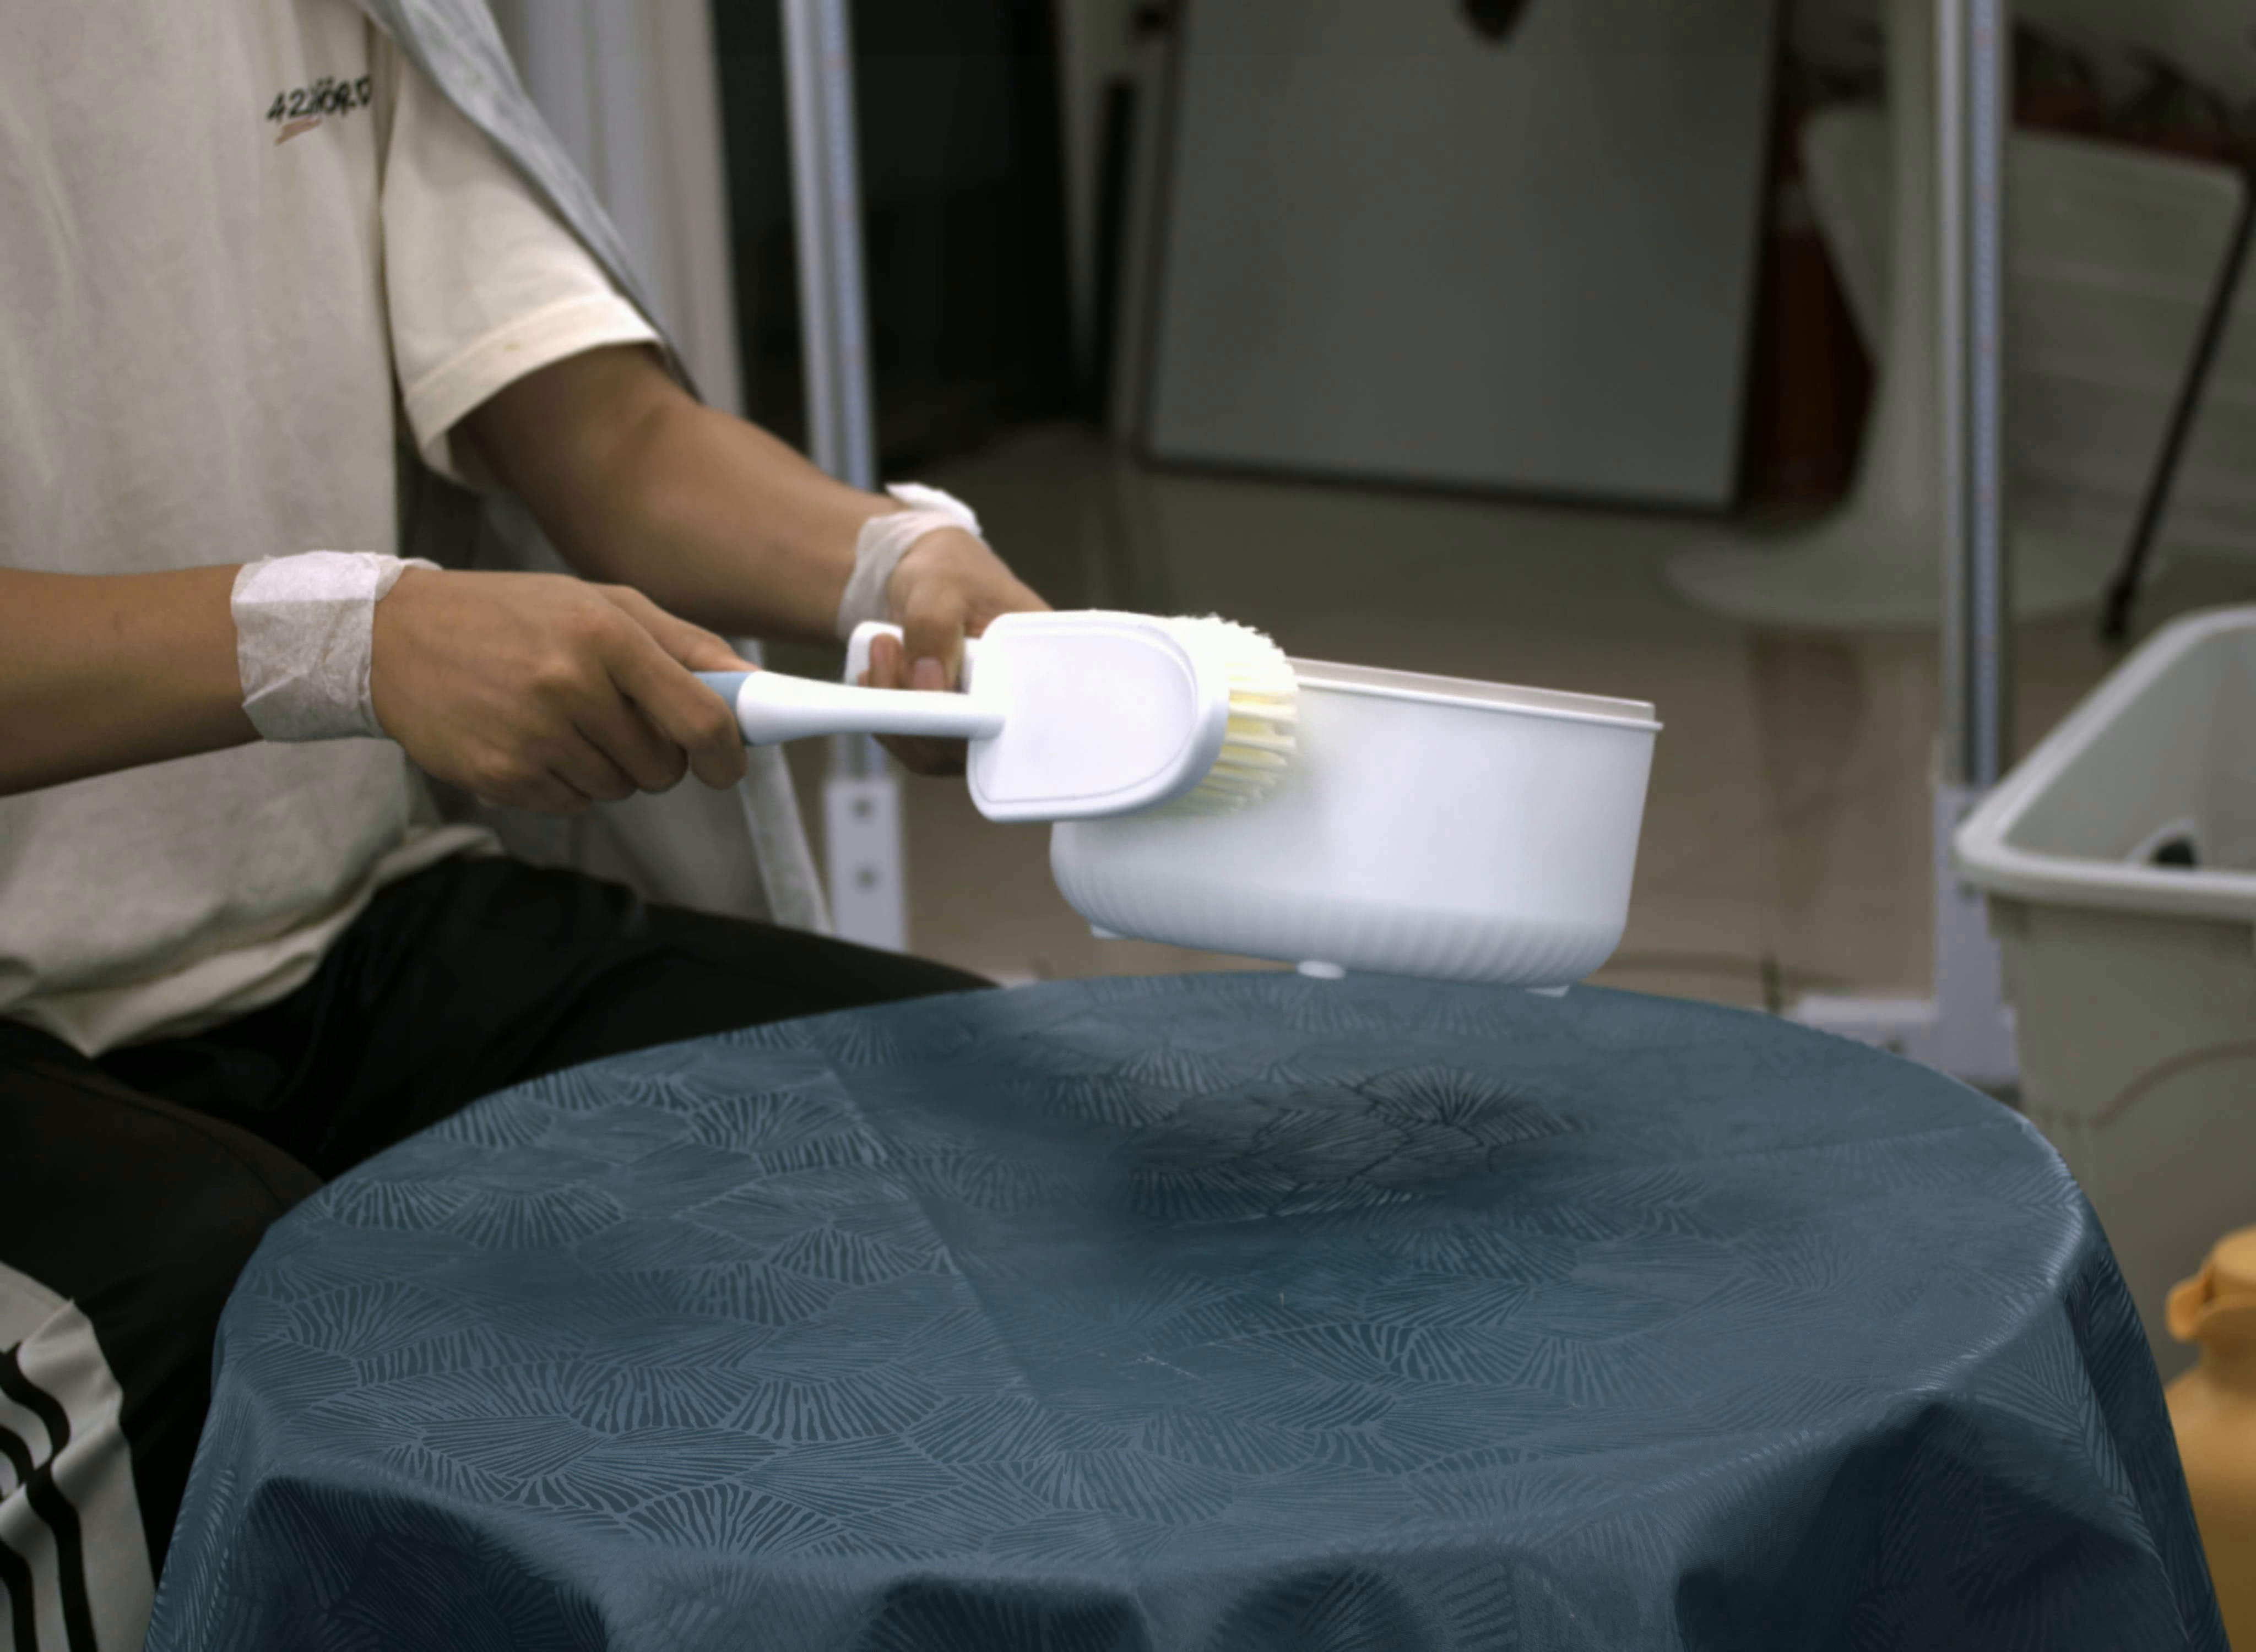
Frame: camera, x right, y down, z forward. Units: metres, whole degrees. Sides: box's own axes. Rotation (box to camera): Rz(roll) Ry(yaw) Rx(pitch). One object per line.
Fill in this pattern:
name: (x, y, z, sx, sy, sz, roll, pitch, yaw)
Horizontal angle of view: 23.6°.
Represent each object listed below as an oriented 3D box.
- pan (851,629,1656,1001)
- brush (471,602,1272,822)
pan: (0.022, -0.009, 1.847, 0.196, 0.103, 0.358, 6, 1, -40)
brush: (-0.079, -0.039, 1.761, 0.328, 0.084, 0.083, -1, 48, 40)
